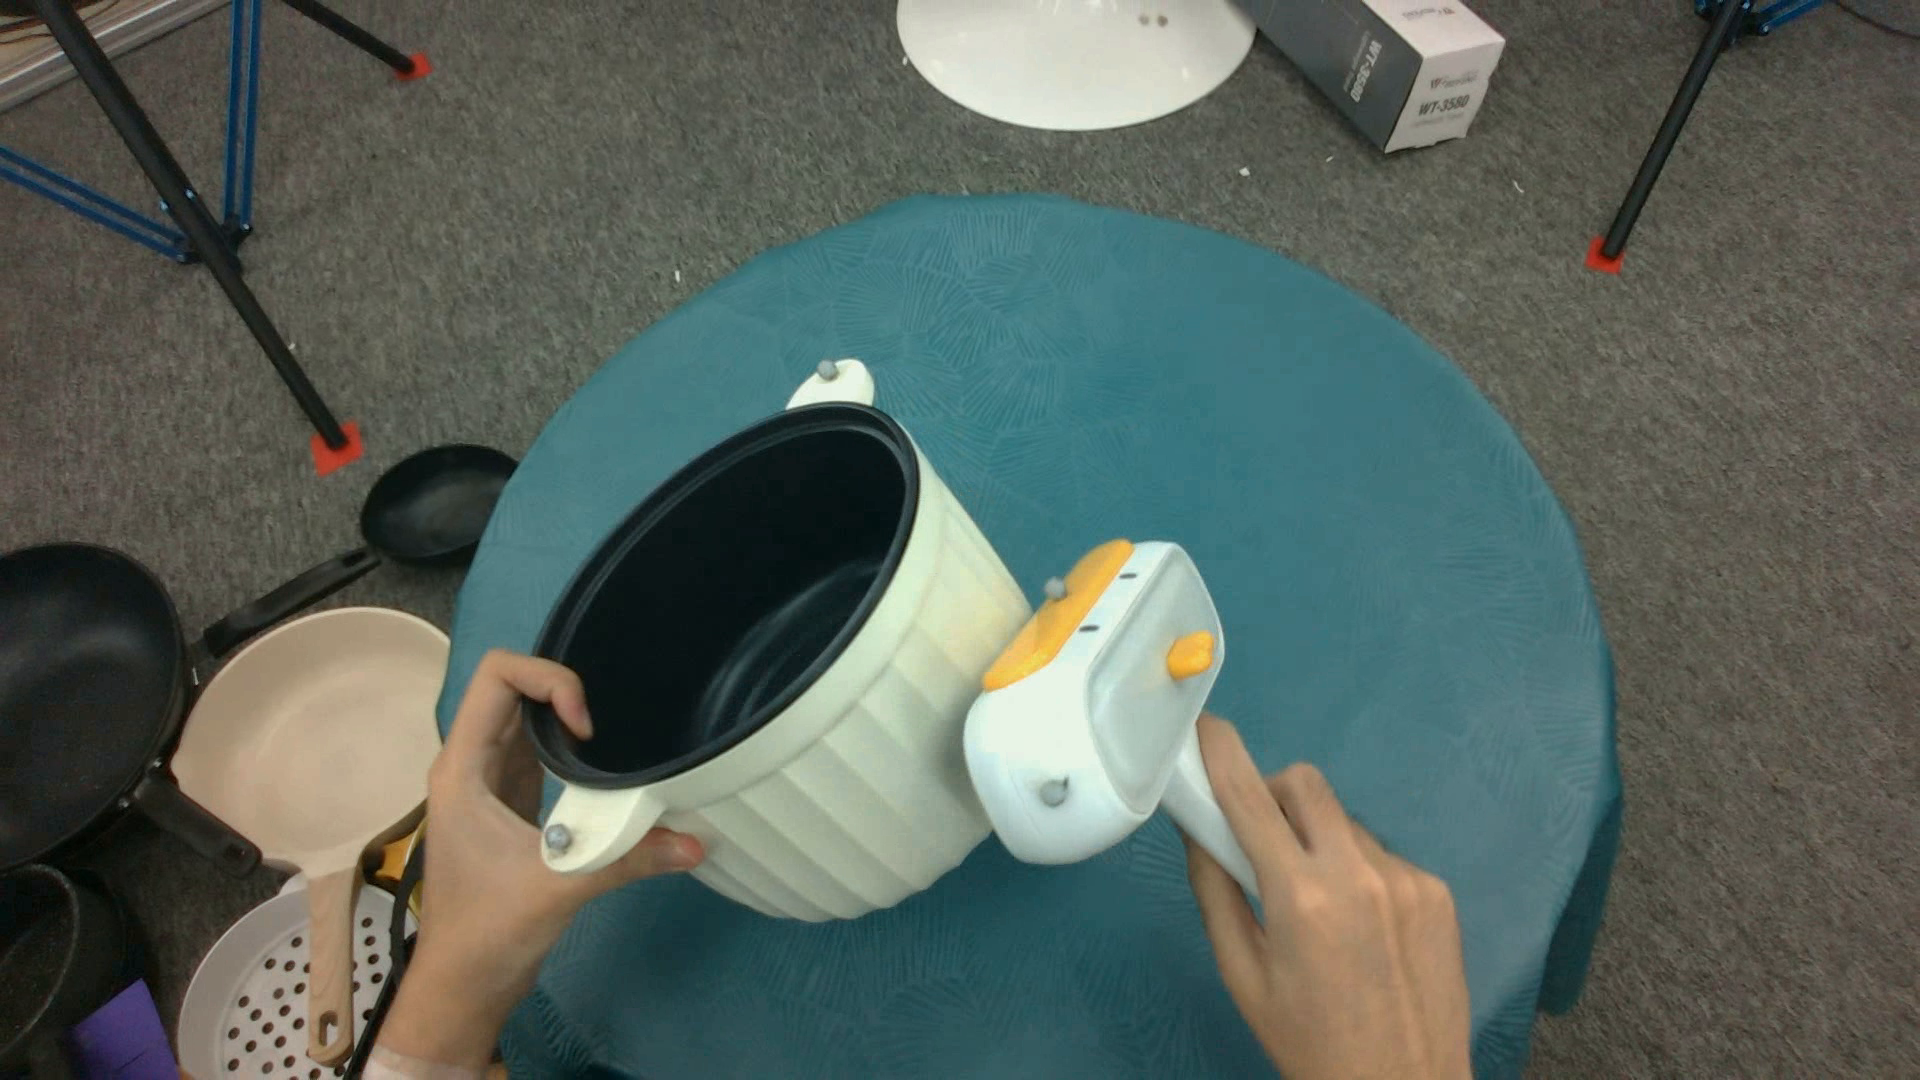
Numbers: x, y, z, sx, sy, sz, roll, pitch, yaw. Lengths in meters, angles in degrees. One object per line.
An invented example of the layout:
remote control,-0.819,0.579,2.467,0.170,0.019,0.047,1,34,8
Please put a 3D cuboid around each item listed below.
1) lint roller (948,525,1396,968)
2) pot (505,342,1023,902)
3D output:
lint roller,0.090,0.093,0.528,0.192,0.074,0.193,53,23,-6
pot,-0.072,0.049,0.561,0.190,0.142,0.241,-2,48,33
